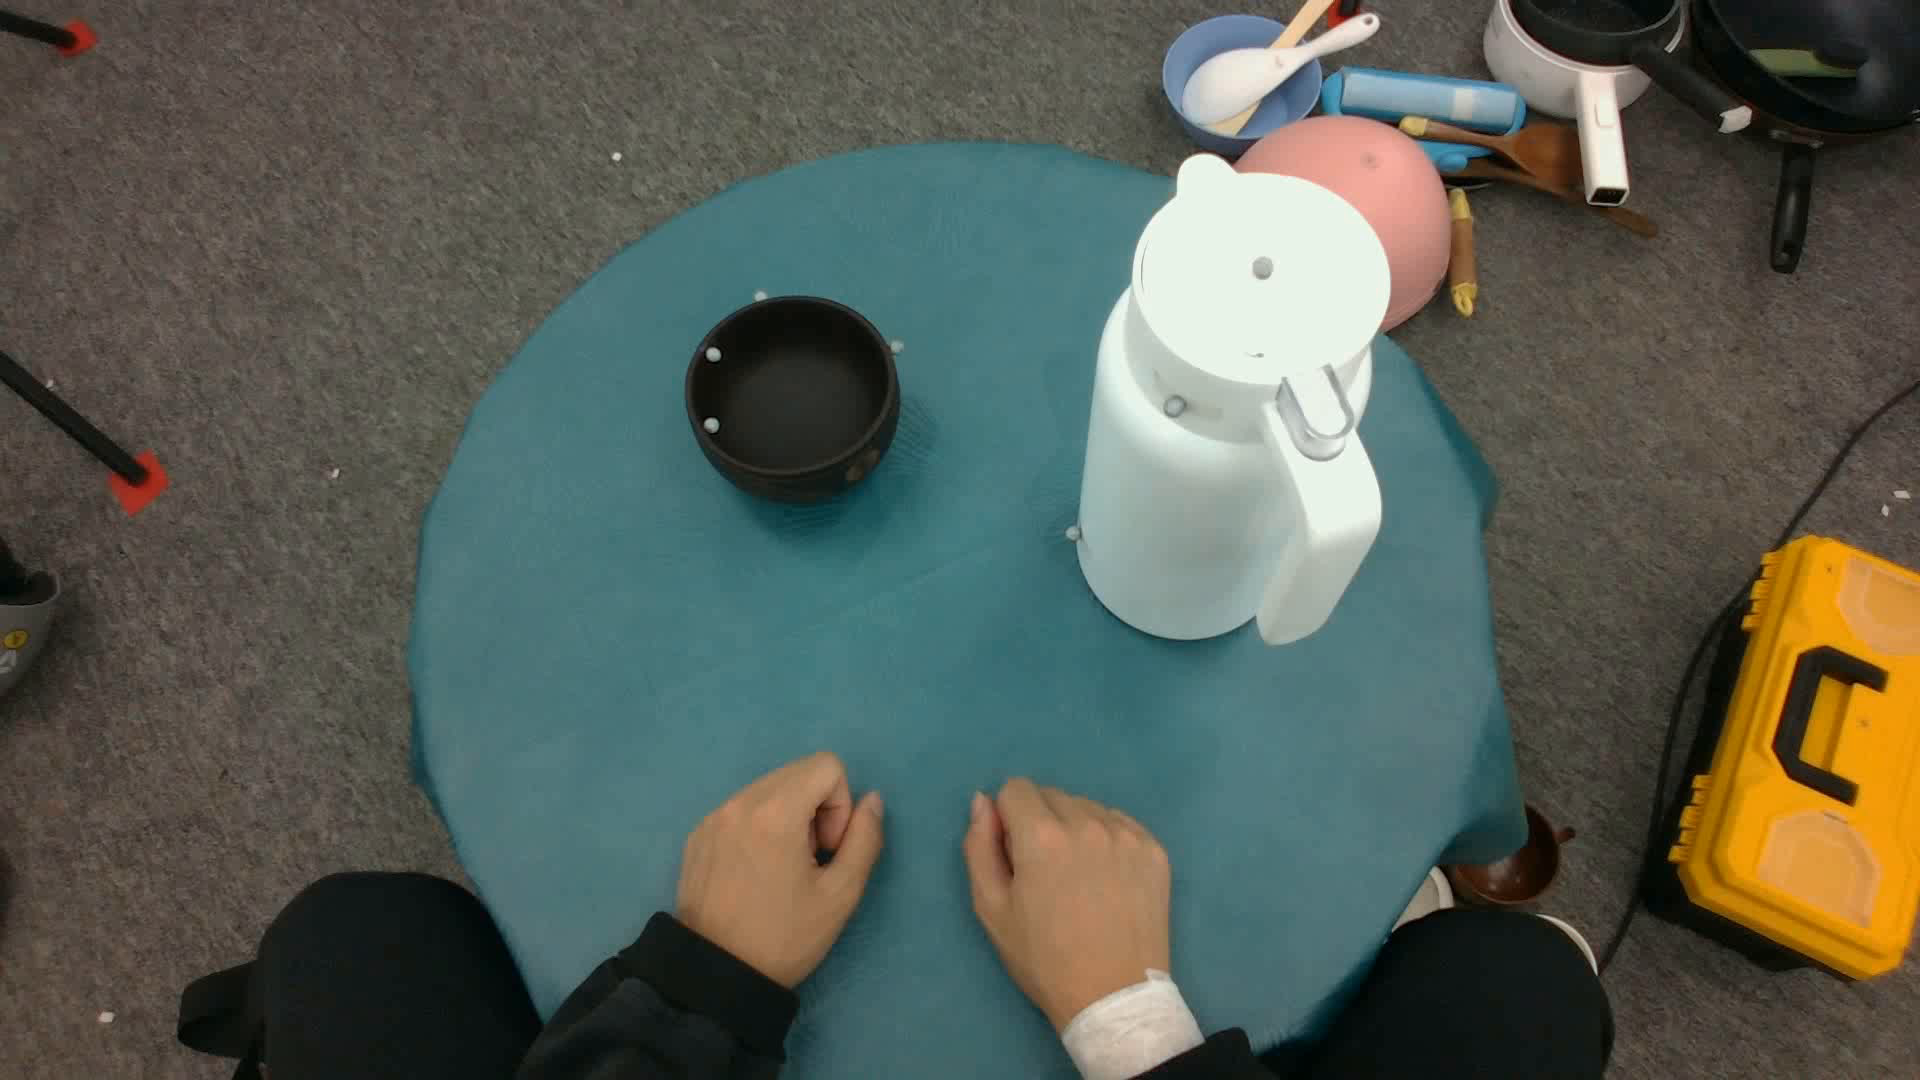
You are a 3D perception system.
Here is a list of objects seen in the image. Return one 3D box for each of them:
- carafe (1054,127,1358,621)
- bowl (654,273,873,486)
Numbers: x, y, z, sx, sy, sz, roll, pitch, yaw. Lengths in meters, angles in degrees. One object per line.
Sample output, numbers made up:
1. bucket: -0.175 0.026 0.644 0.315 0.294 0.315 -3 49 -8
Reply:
1. carafe: 0.115 -0.045 0.650 0.124 0.268 0.173 -17 67 -9
2. bowl: -0.107 -0.083 0.772 0.118 0.069 0.118 0 66 -1
